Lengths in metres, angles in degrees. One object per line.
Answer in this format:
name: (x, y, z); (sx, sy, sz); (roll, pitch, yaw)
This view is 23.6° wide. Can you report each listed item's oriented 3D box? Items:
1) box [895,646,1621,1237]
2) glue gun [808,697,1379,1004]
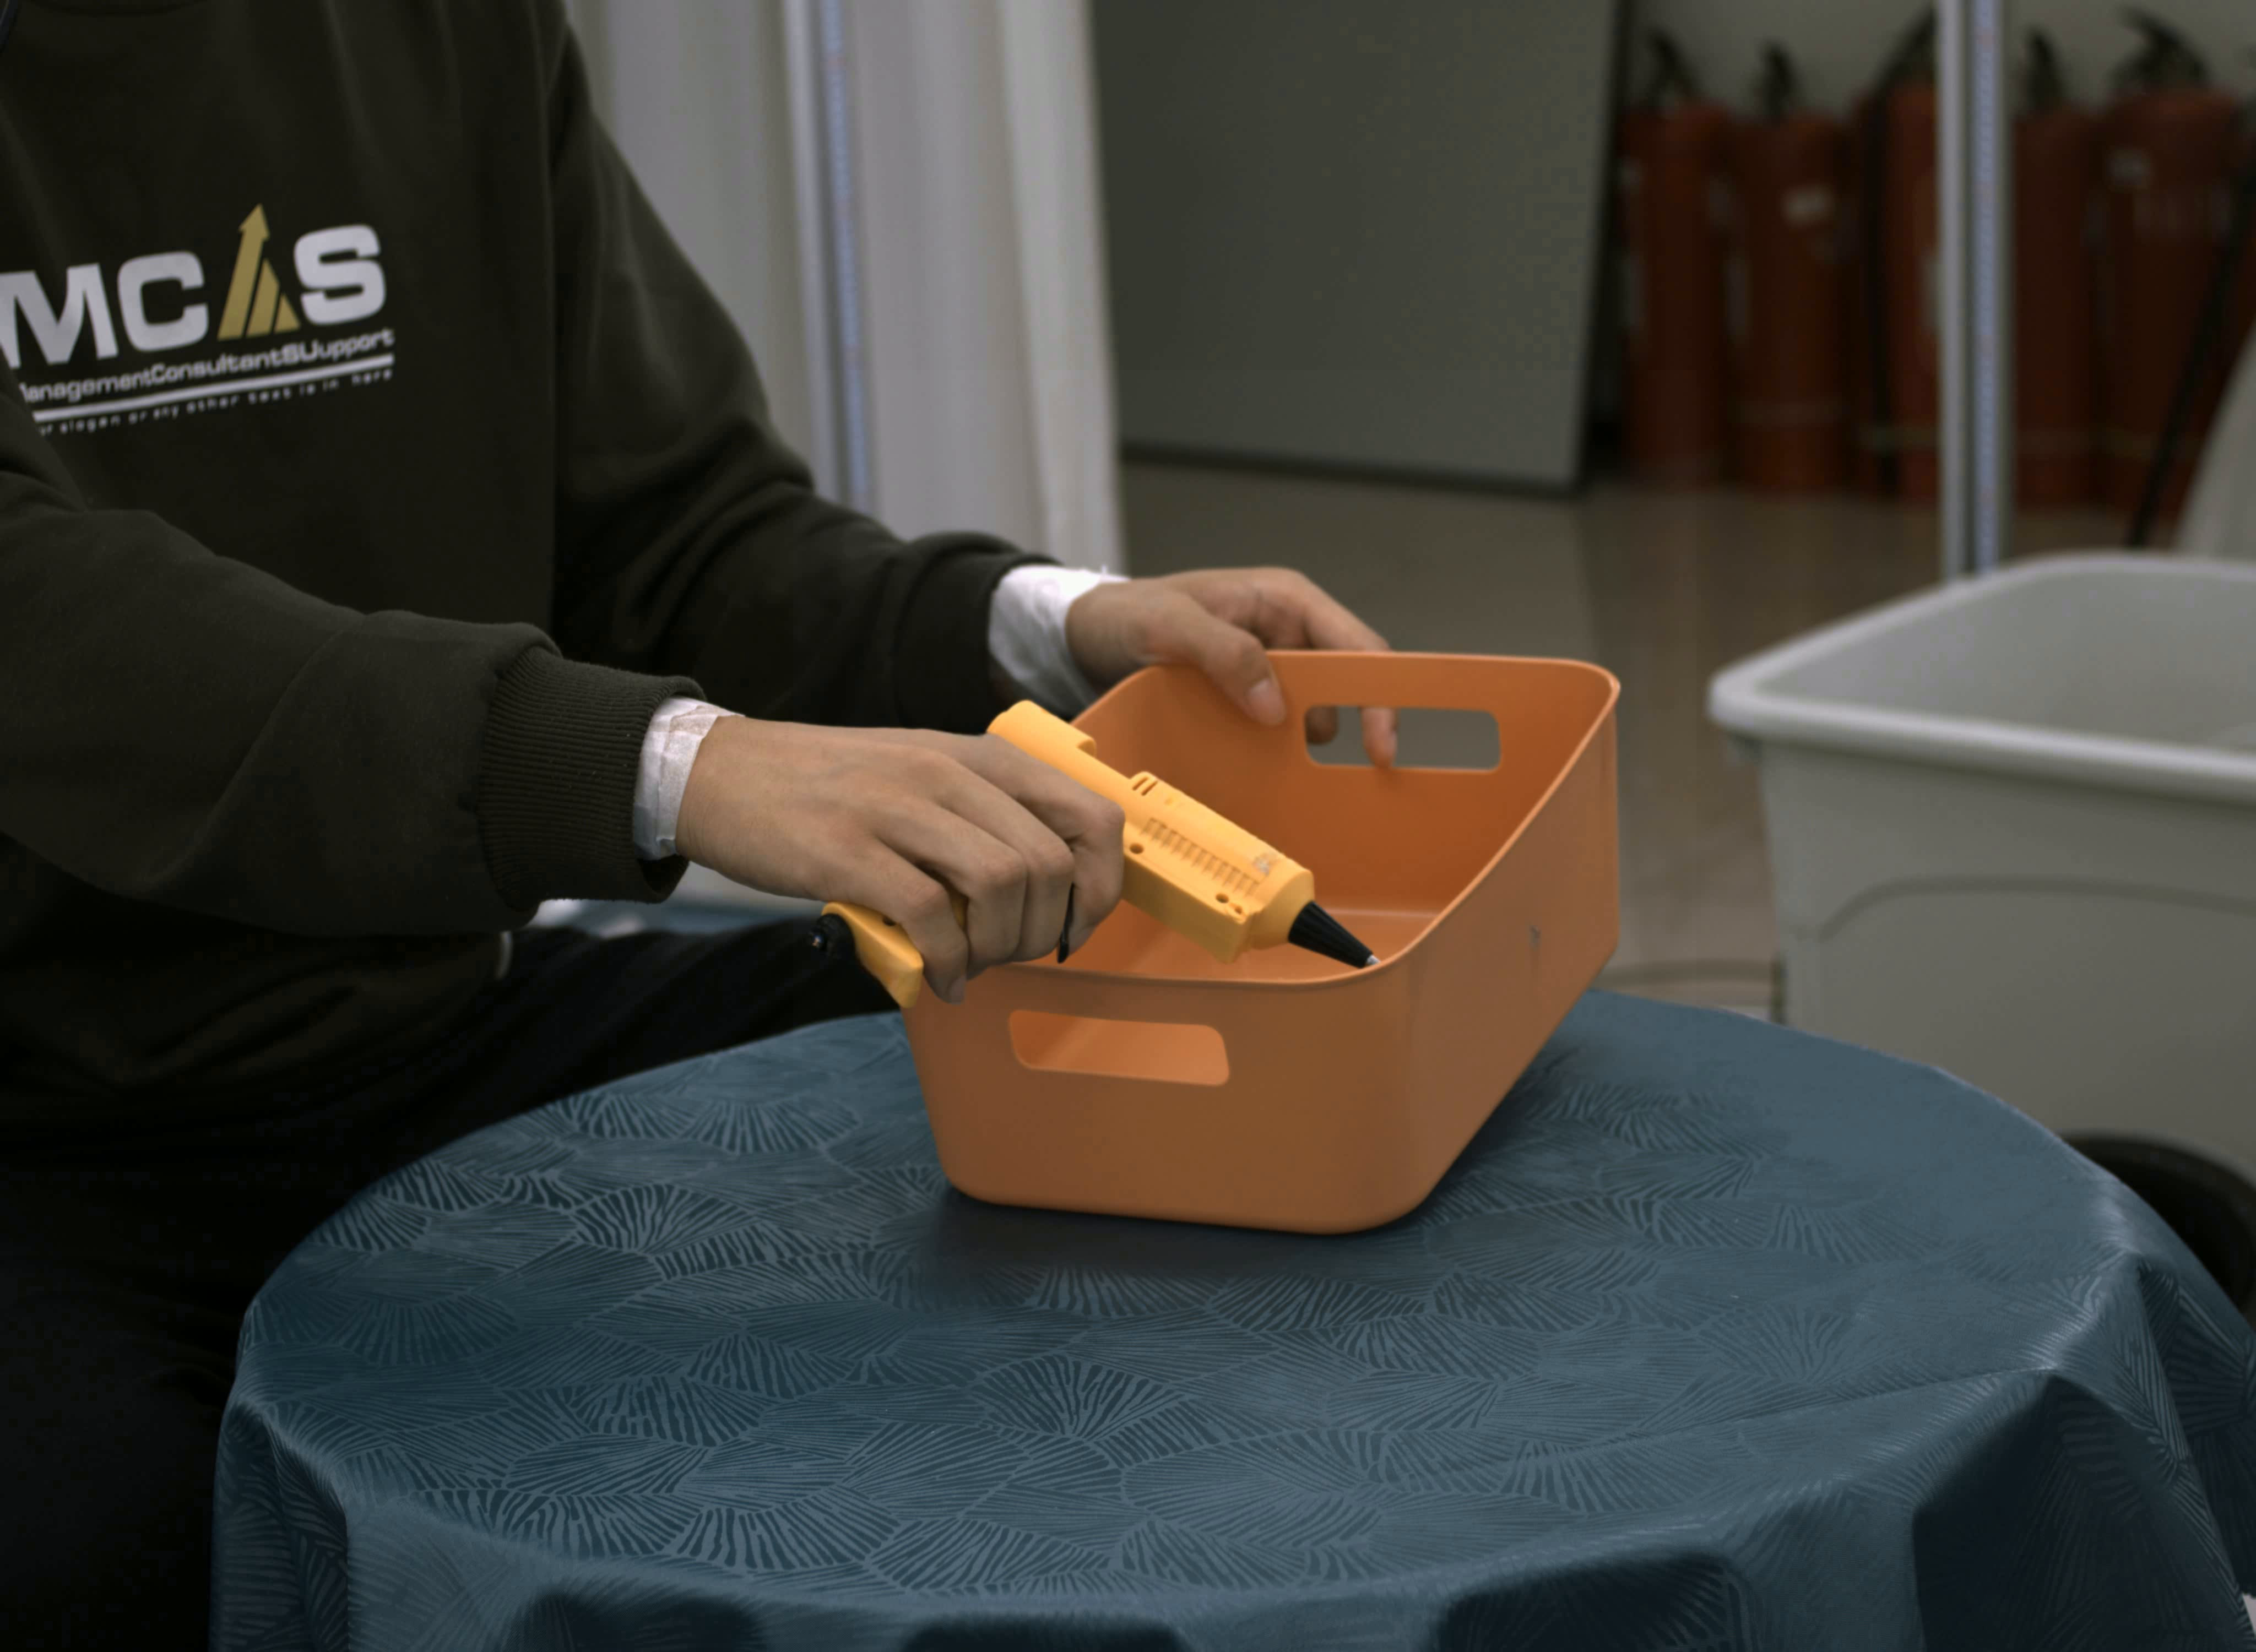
box: (0.050, 0.038, 1.825); (0.199, 0.103, 0.271); (1, 25, 25)
glue gun: (-0.004, 0.031, 1.671); (0.151, 0.031, 0.132); (27, 44, 16)
